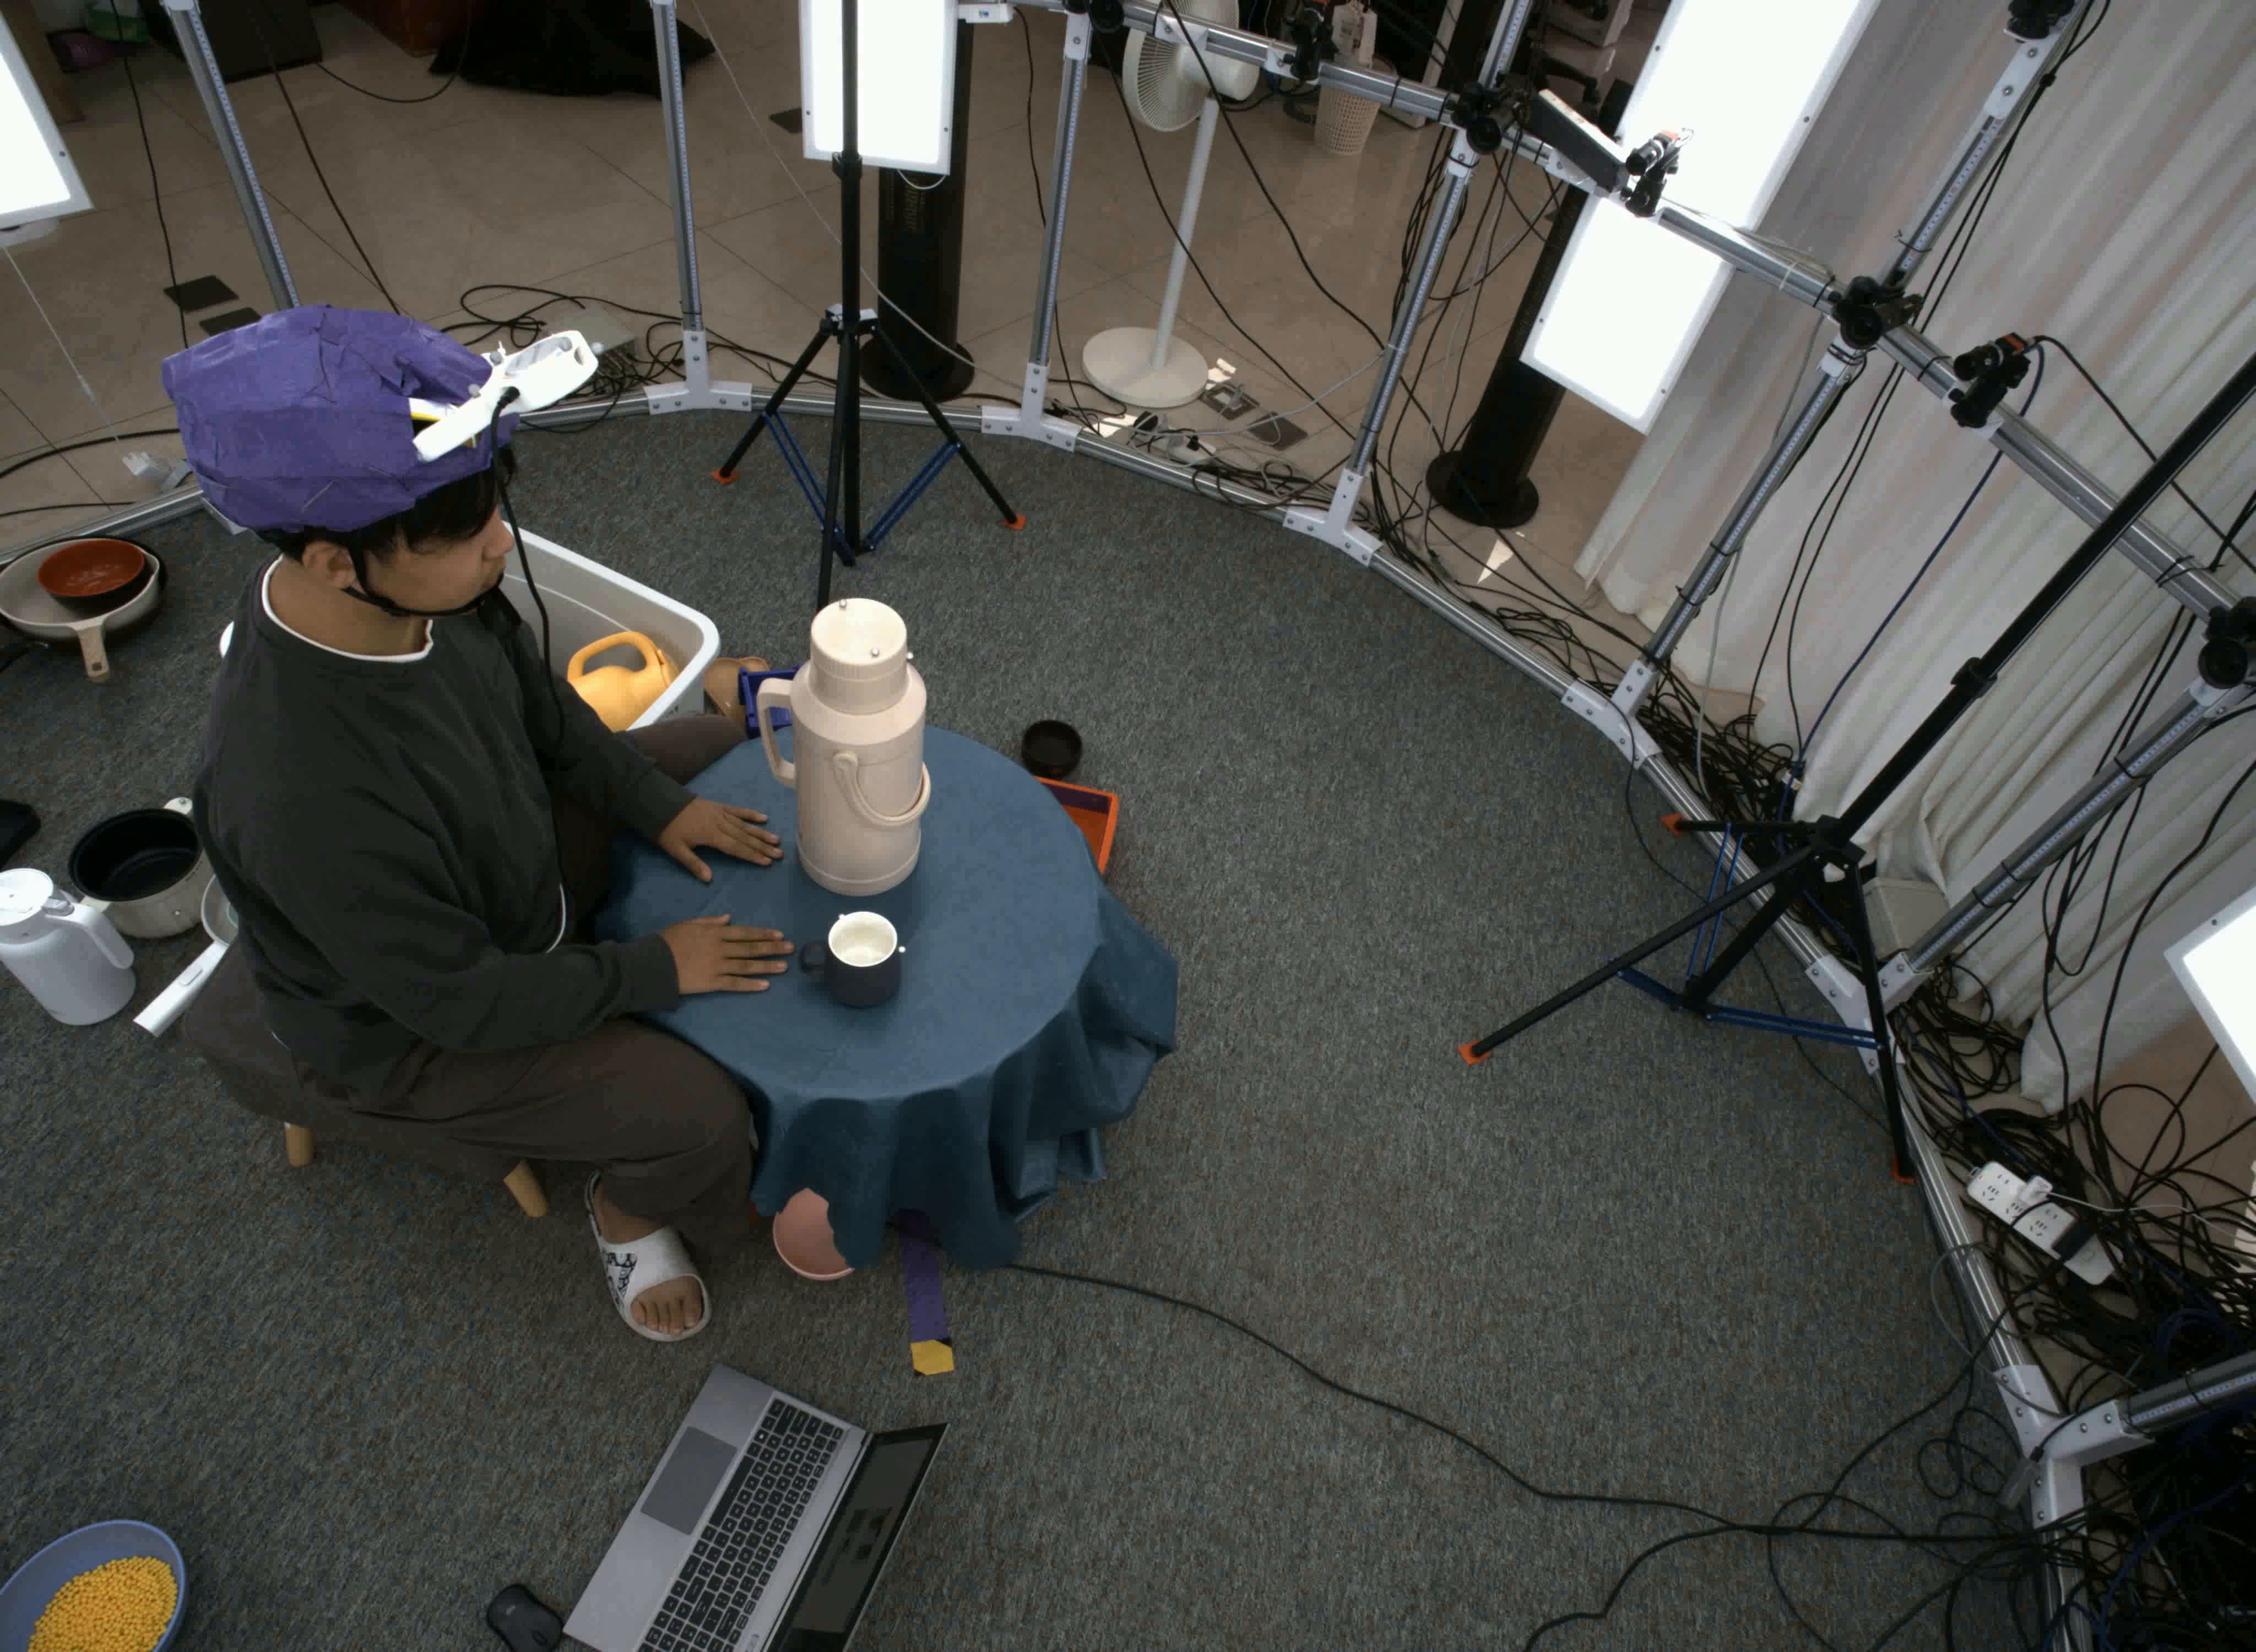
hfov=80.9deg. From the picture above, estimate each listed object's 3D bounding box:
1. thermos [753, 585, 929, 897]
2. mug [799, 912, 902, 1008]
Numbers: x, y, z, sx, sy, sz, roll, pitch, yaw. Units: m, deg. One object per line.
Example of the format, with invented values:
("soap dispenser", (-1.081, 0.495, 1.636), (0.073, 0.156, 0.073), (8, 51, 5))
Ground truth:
("thermos", (-0.340, -0.099, 1.559), (0.206, 0.415, 0.172), (7, 51, -7))
("mug", (-0.334, 0.159, 1.565), (0.123, 0.092, 0.091), (2, 52, -12))
